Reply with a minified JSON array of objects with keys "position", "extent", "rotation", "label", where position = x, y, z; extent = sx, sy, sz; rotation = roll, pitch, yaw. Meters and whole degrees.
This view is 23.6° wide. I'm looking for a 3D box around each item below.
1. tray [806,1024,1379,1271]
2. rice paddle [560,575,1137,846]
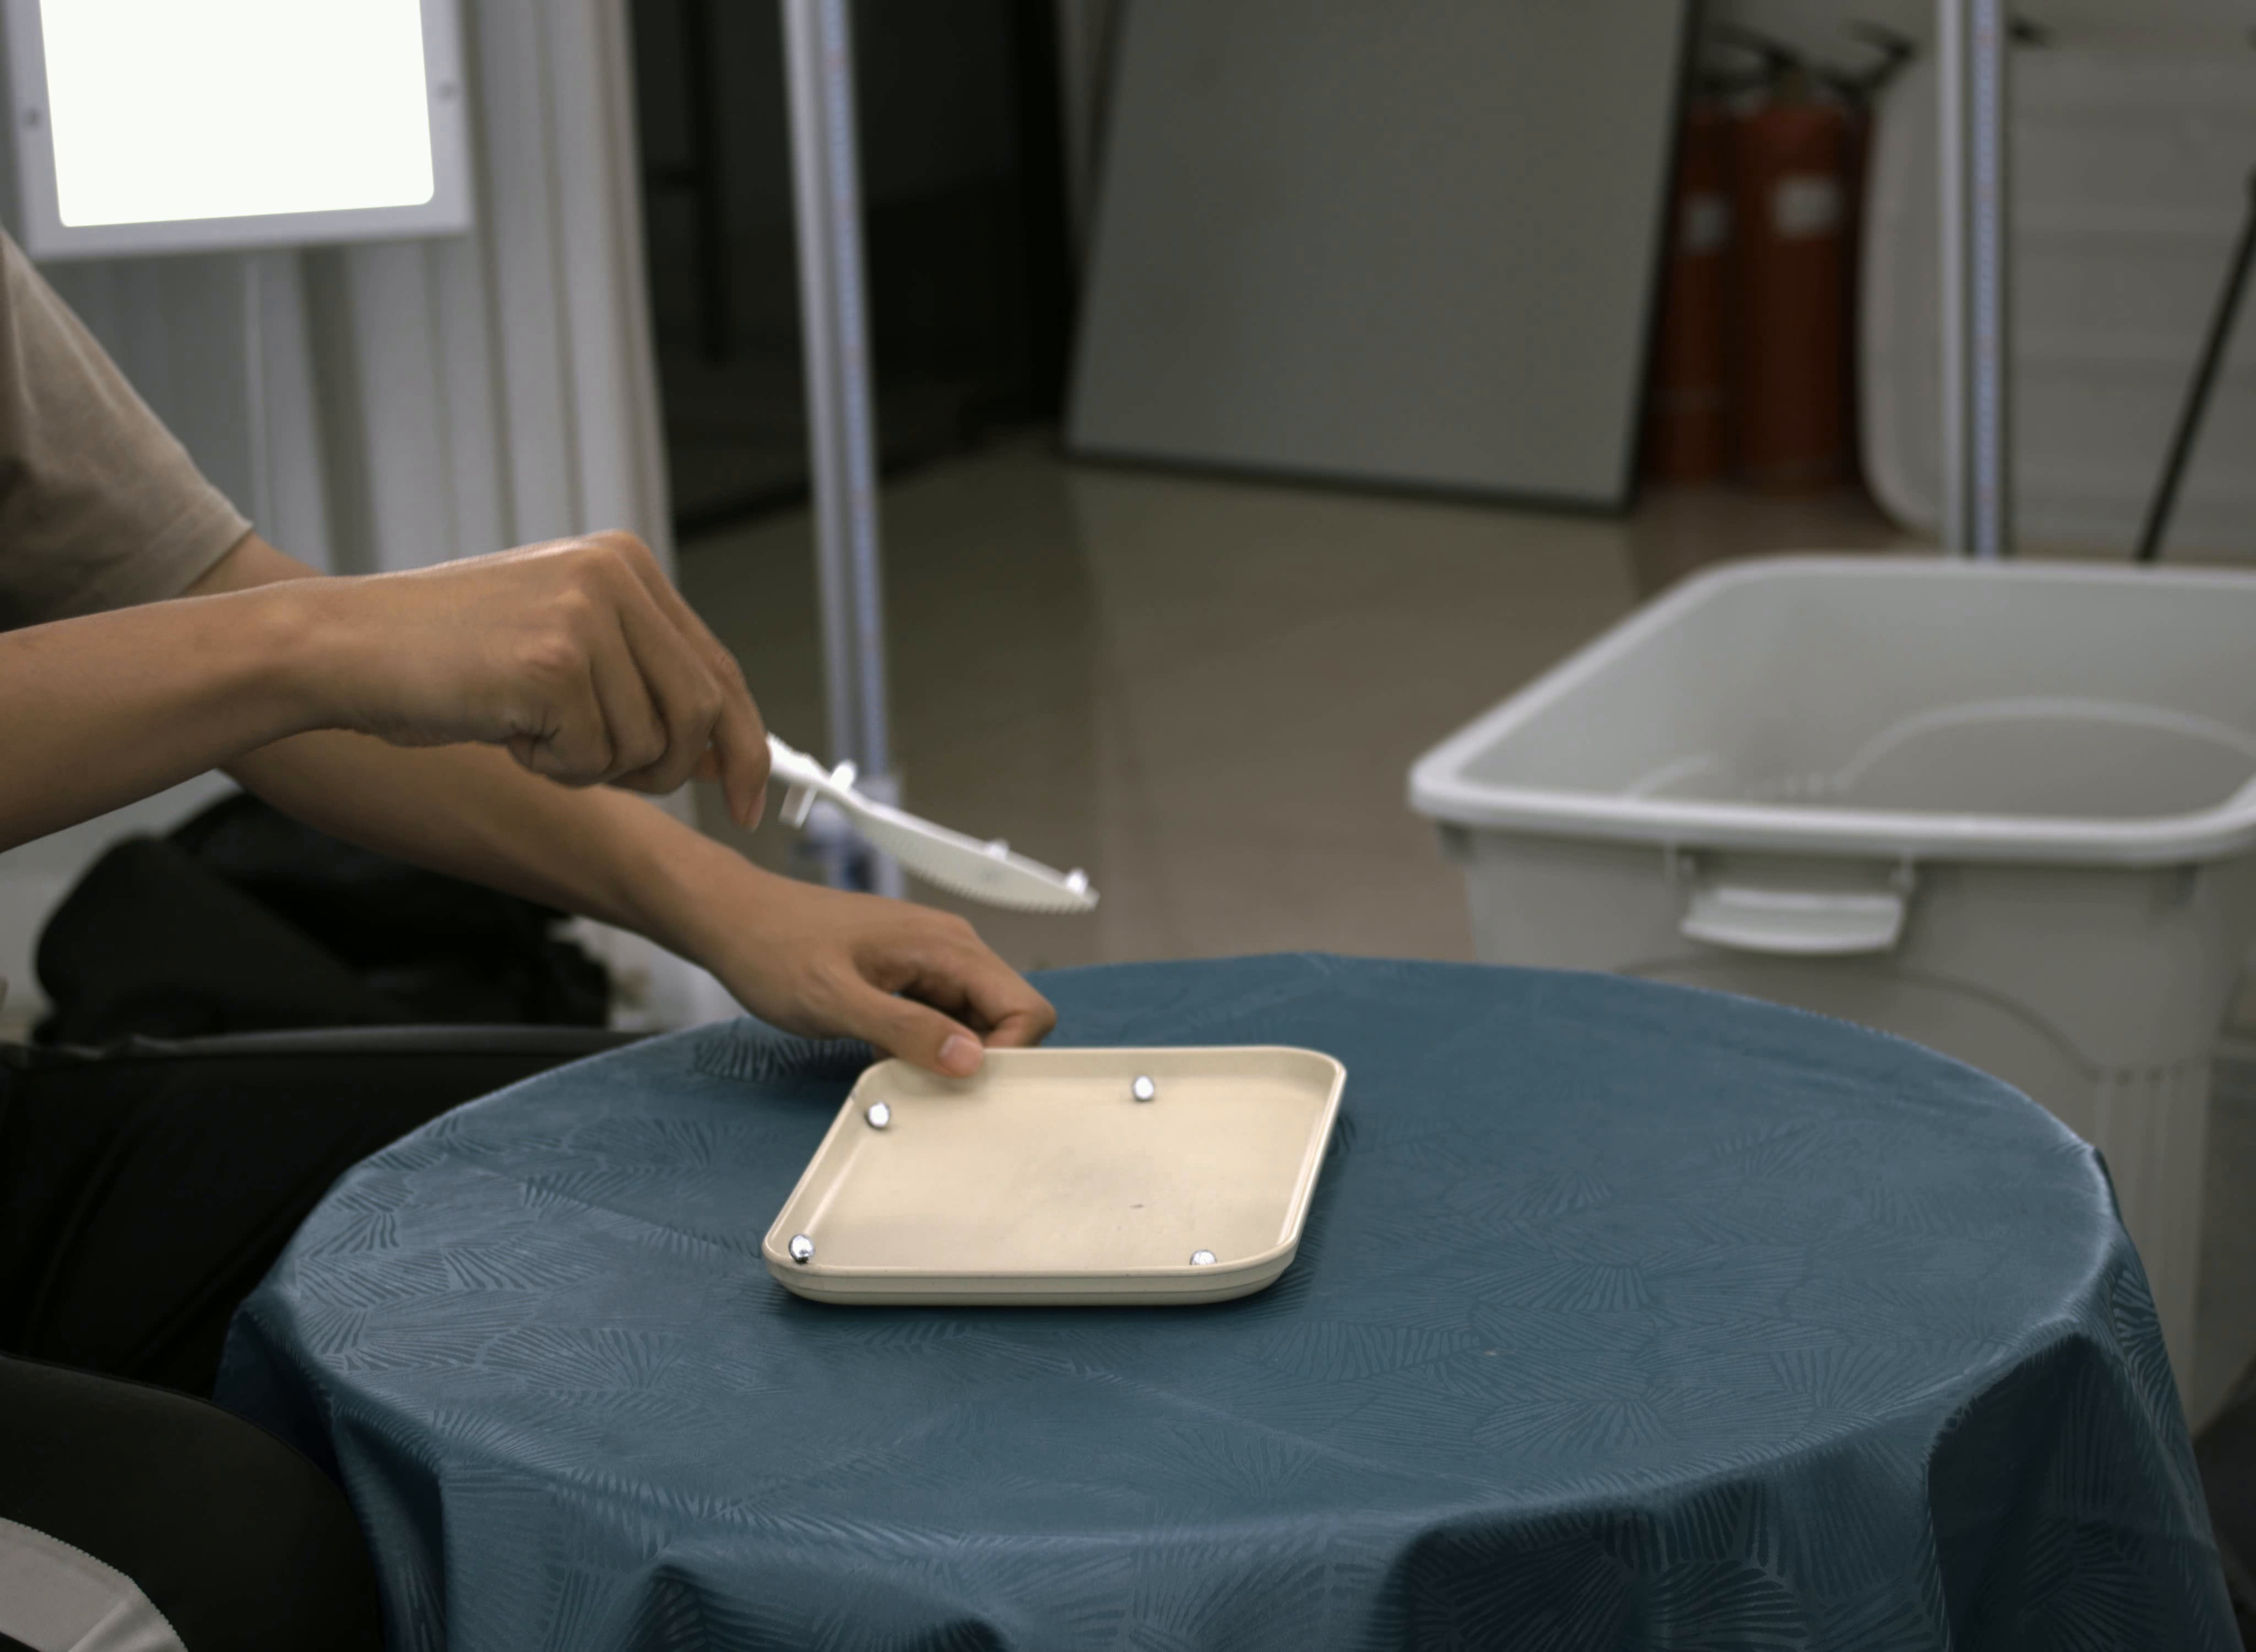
[{"position":[-0.007,0.106,1.778],"extent":[0.170,0.017,0.239],"rotation":[-1,13,9],"label":"tray"},{"position":[-0.081,-0.030,1.676],"extent":[0.201,0.030,0.069],"rotation":[21,0,-29],"label":"rice paddle"}]
